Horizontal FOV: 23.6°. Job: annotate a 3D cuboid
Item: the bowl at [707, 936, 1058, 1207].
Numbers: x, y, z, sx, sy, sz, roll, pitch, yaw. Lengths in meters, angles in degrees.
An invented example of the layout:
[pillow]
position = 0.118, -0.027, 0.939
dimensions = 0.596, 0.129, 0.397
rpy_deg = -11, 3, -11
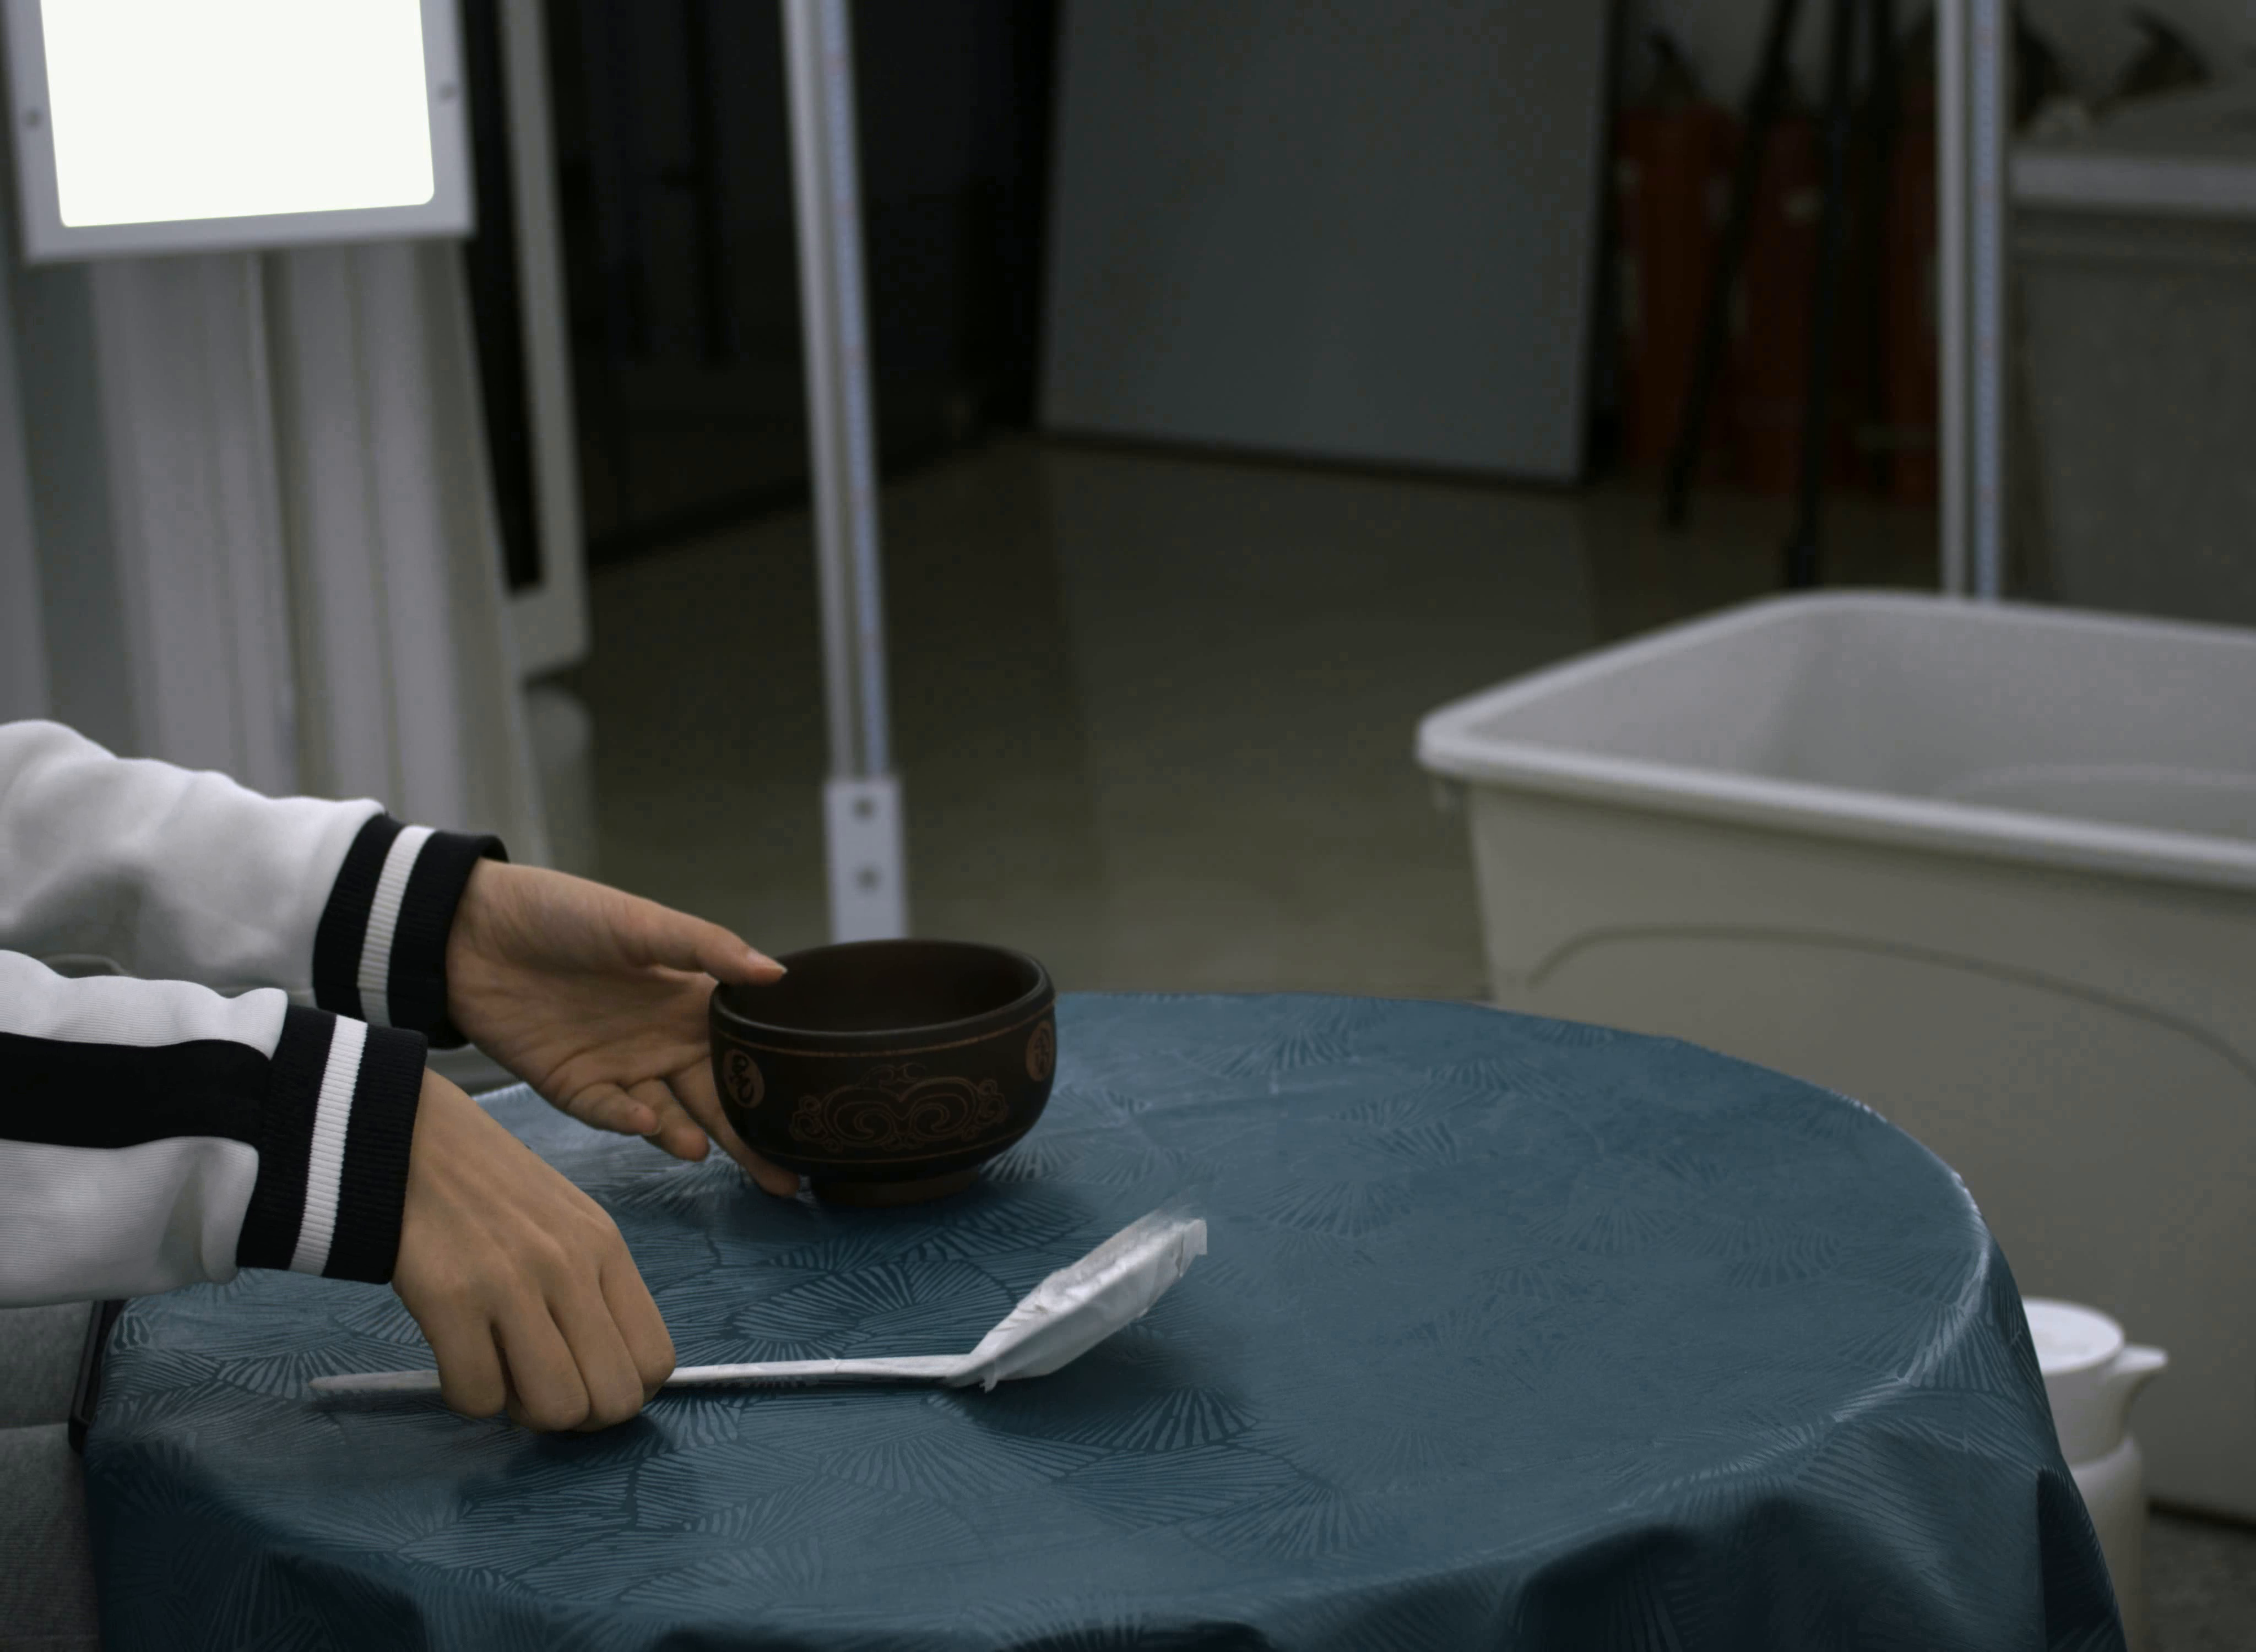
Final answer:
[bowl]
position = -0.080, 0.085, 1.789
dimensions = 0.116, 0.070, 0.118
rpy_deg = -4, 13, 0

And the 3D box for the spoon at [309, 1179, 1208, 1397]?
[spoon]
position = -0.111, 0.138, 1.614
dimensions = 0.275, 0.060, 0.100
rpy_deg = -2, 5, 9
